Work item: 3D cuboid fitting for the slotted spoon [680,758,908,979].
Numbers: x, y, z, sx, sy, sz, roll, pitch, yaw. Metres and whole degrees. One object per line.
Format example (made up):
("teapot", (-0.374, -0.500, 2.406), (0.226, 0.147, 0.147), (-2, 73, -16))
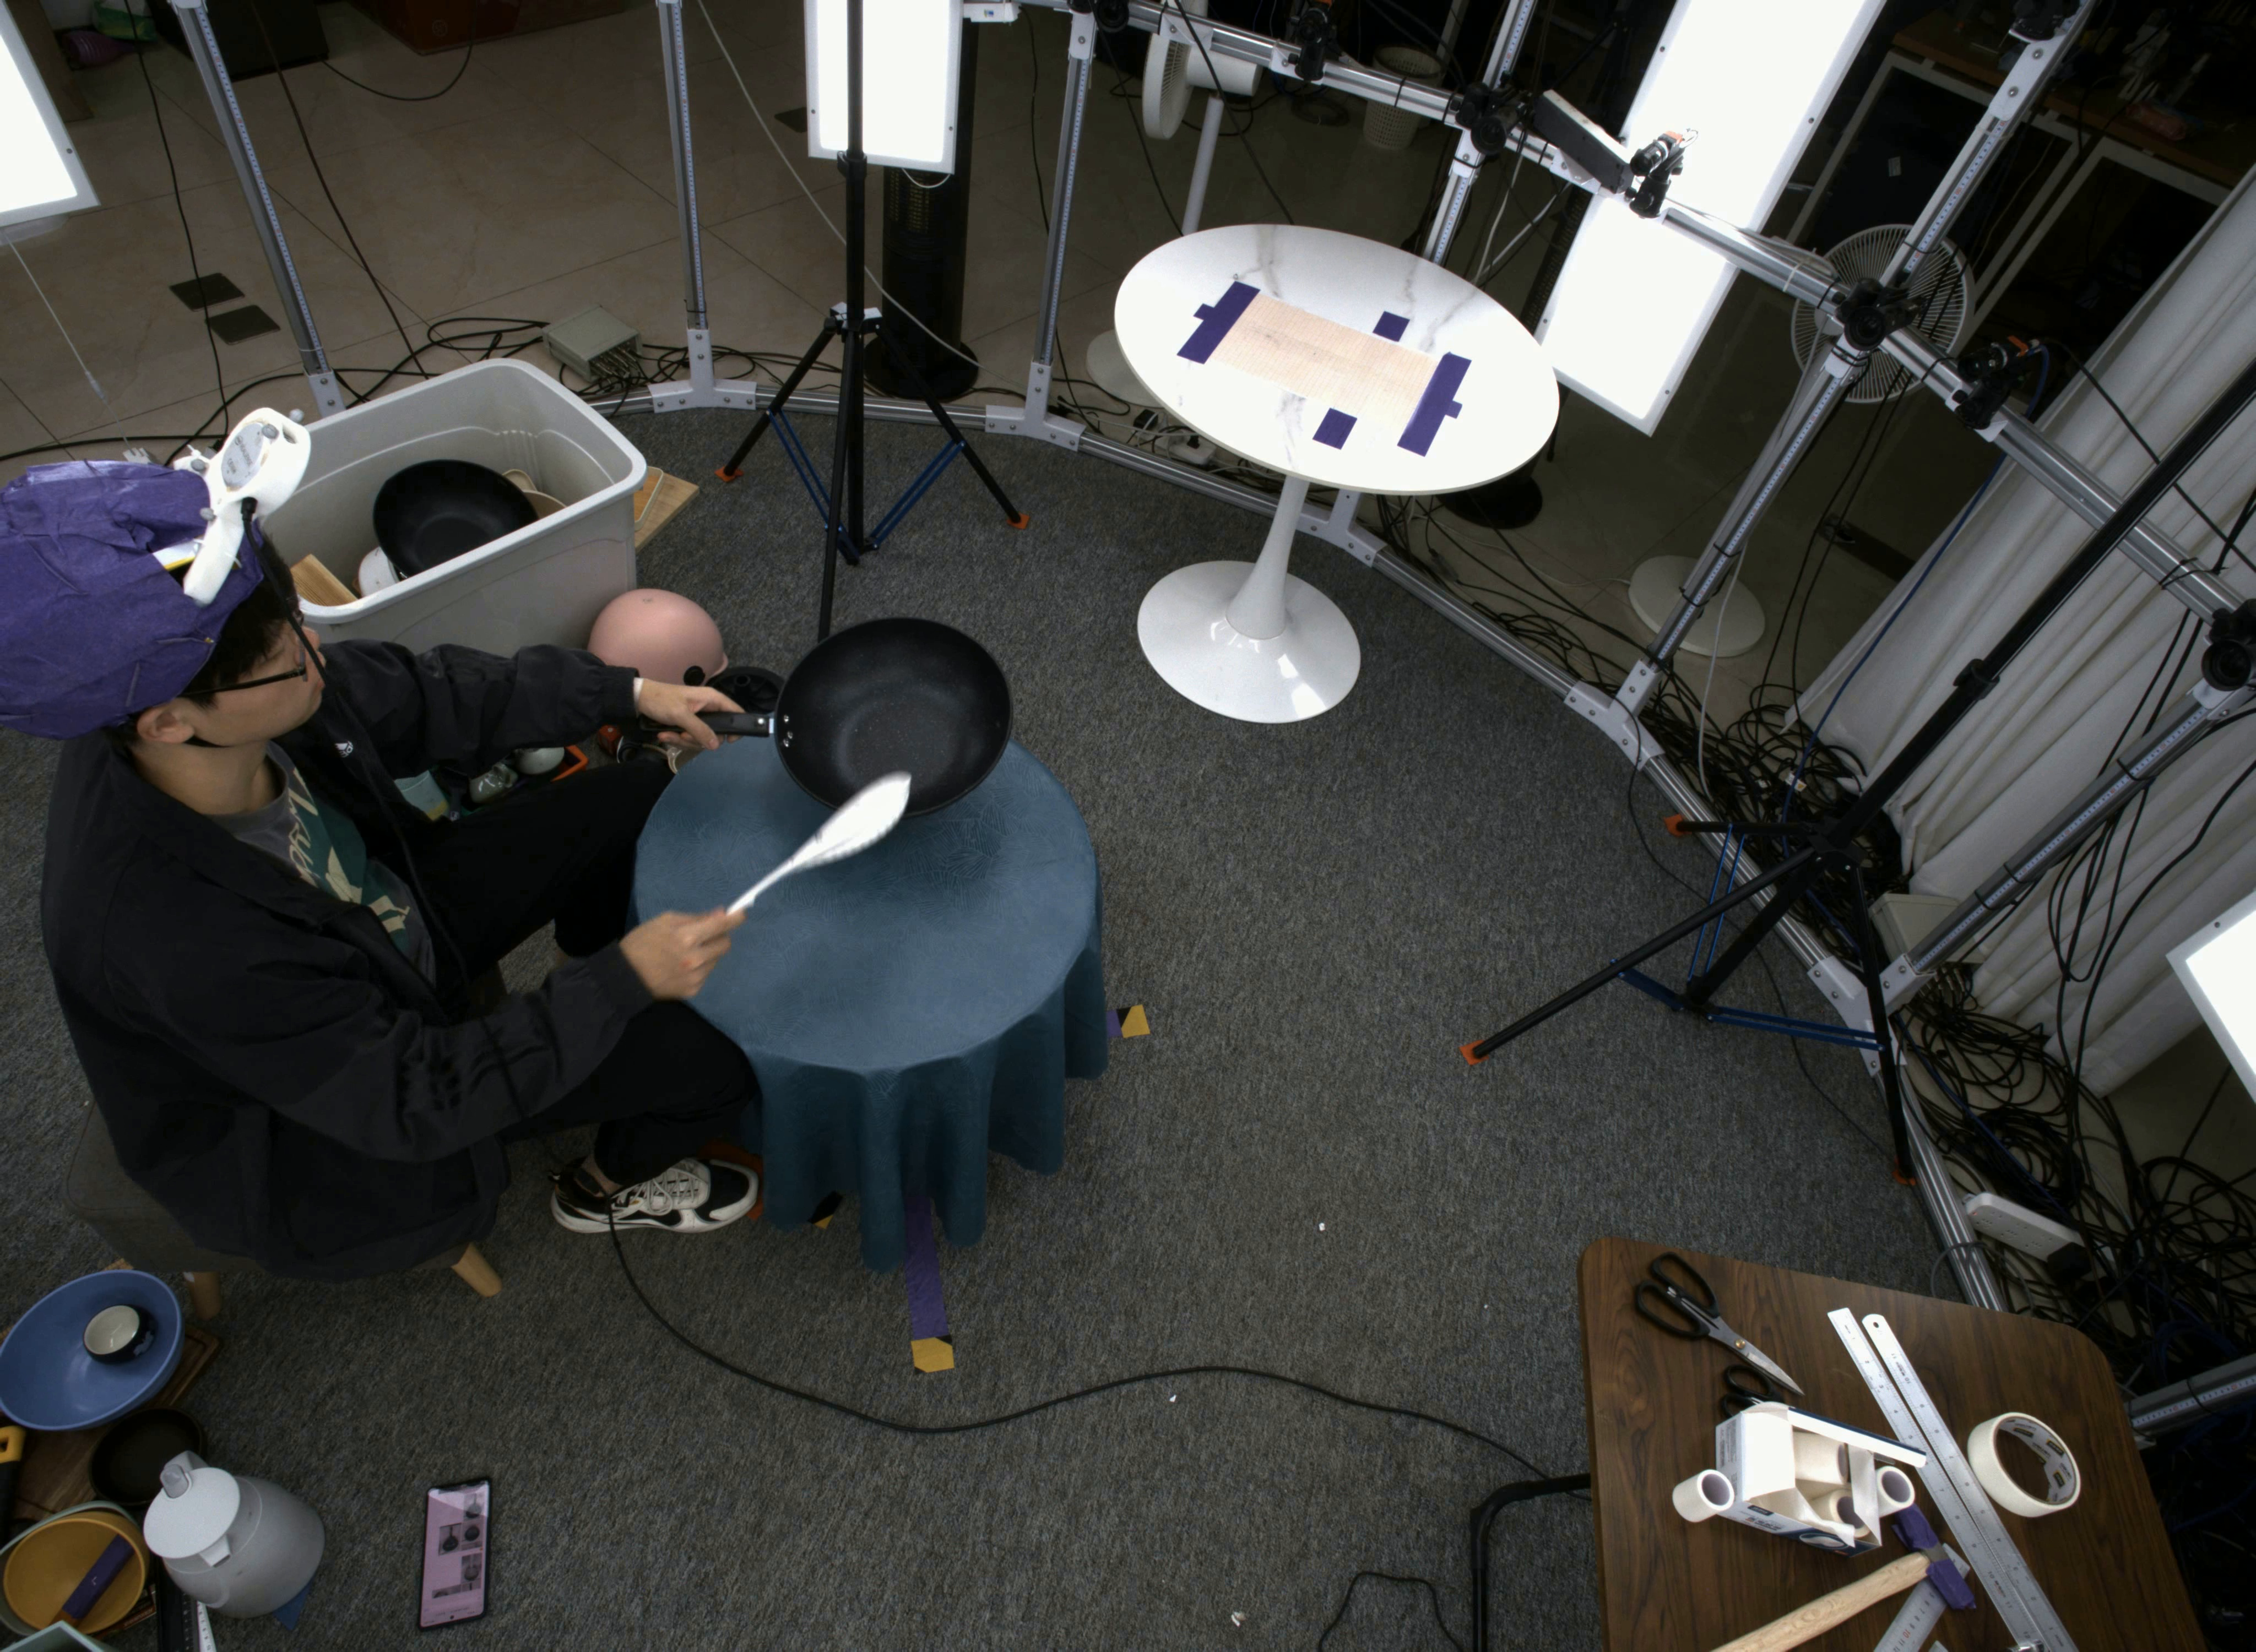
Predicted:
("slotted spoon", (-0.383, 0.043, 1.480), (0.348, 0.052, 0.132), (-38, 24, -15))

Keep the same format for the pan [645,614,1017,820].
("pan", (-0.381, -0.127, 1.694), (0.474, 0.114, 0.305), (-5, 63, -6))
